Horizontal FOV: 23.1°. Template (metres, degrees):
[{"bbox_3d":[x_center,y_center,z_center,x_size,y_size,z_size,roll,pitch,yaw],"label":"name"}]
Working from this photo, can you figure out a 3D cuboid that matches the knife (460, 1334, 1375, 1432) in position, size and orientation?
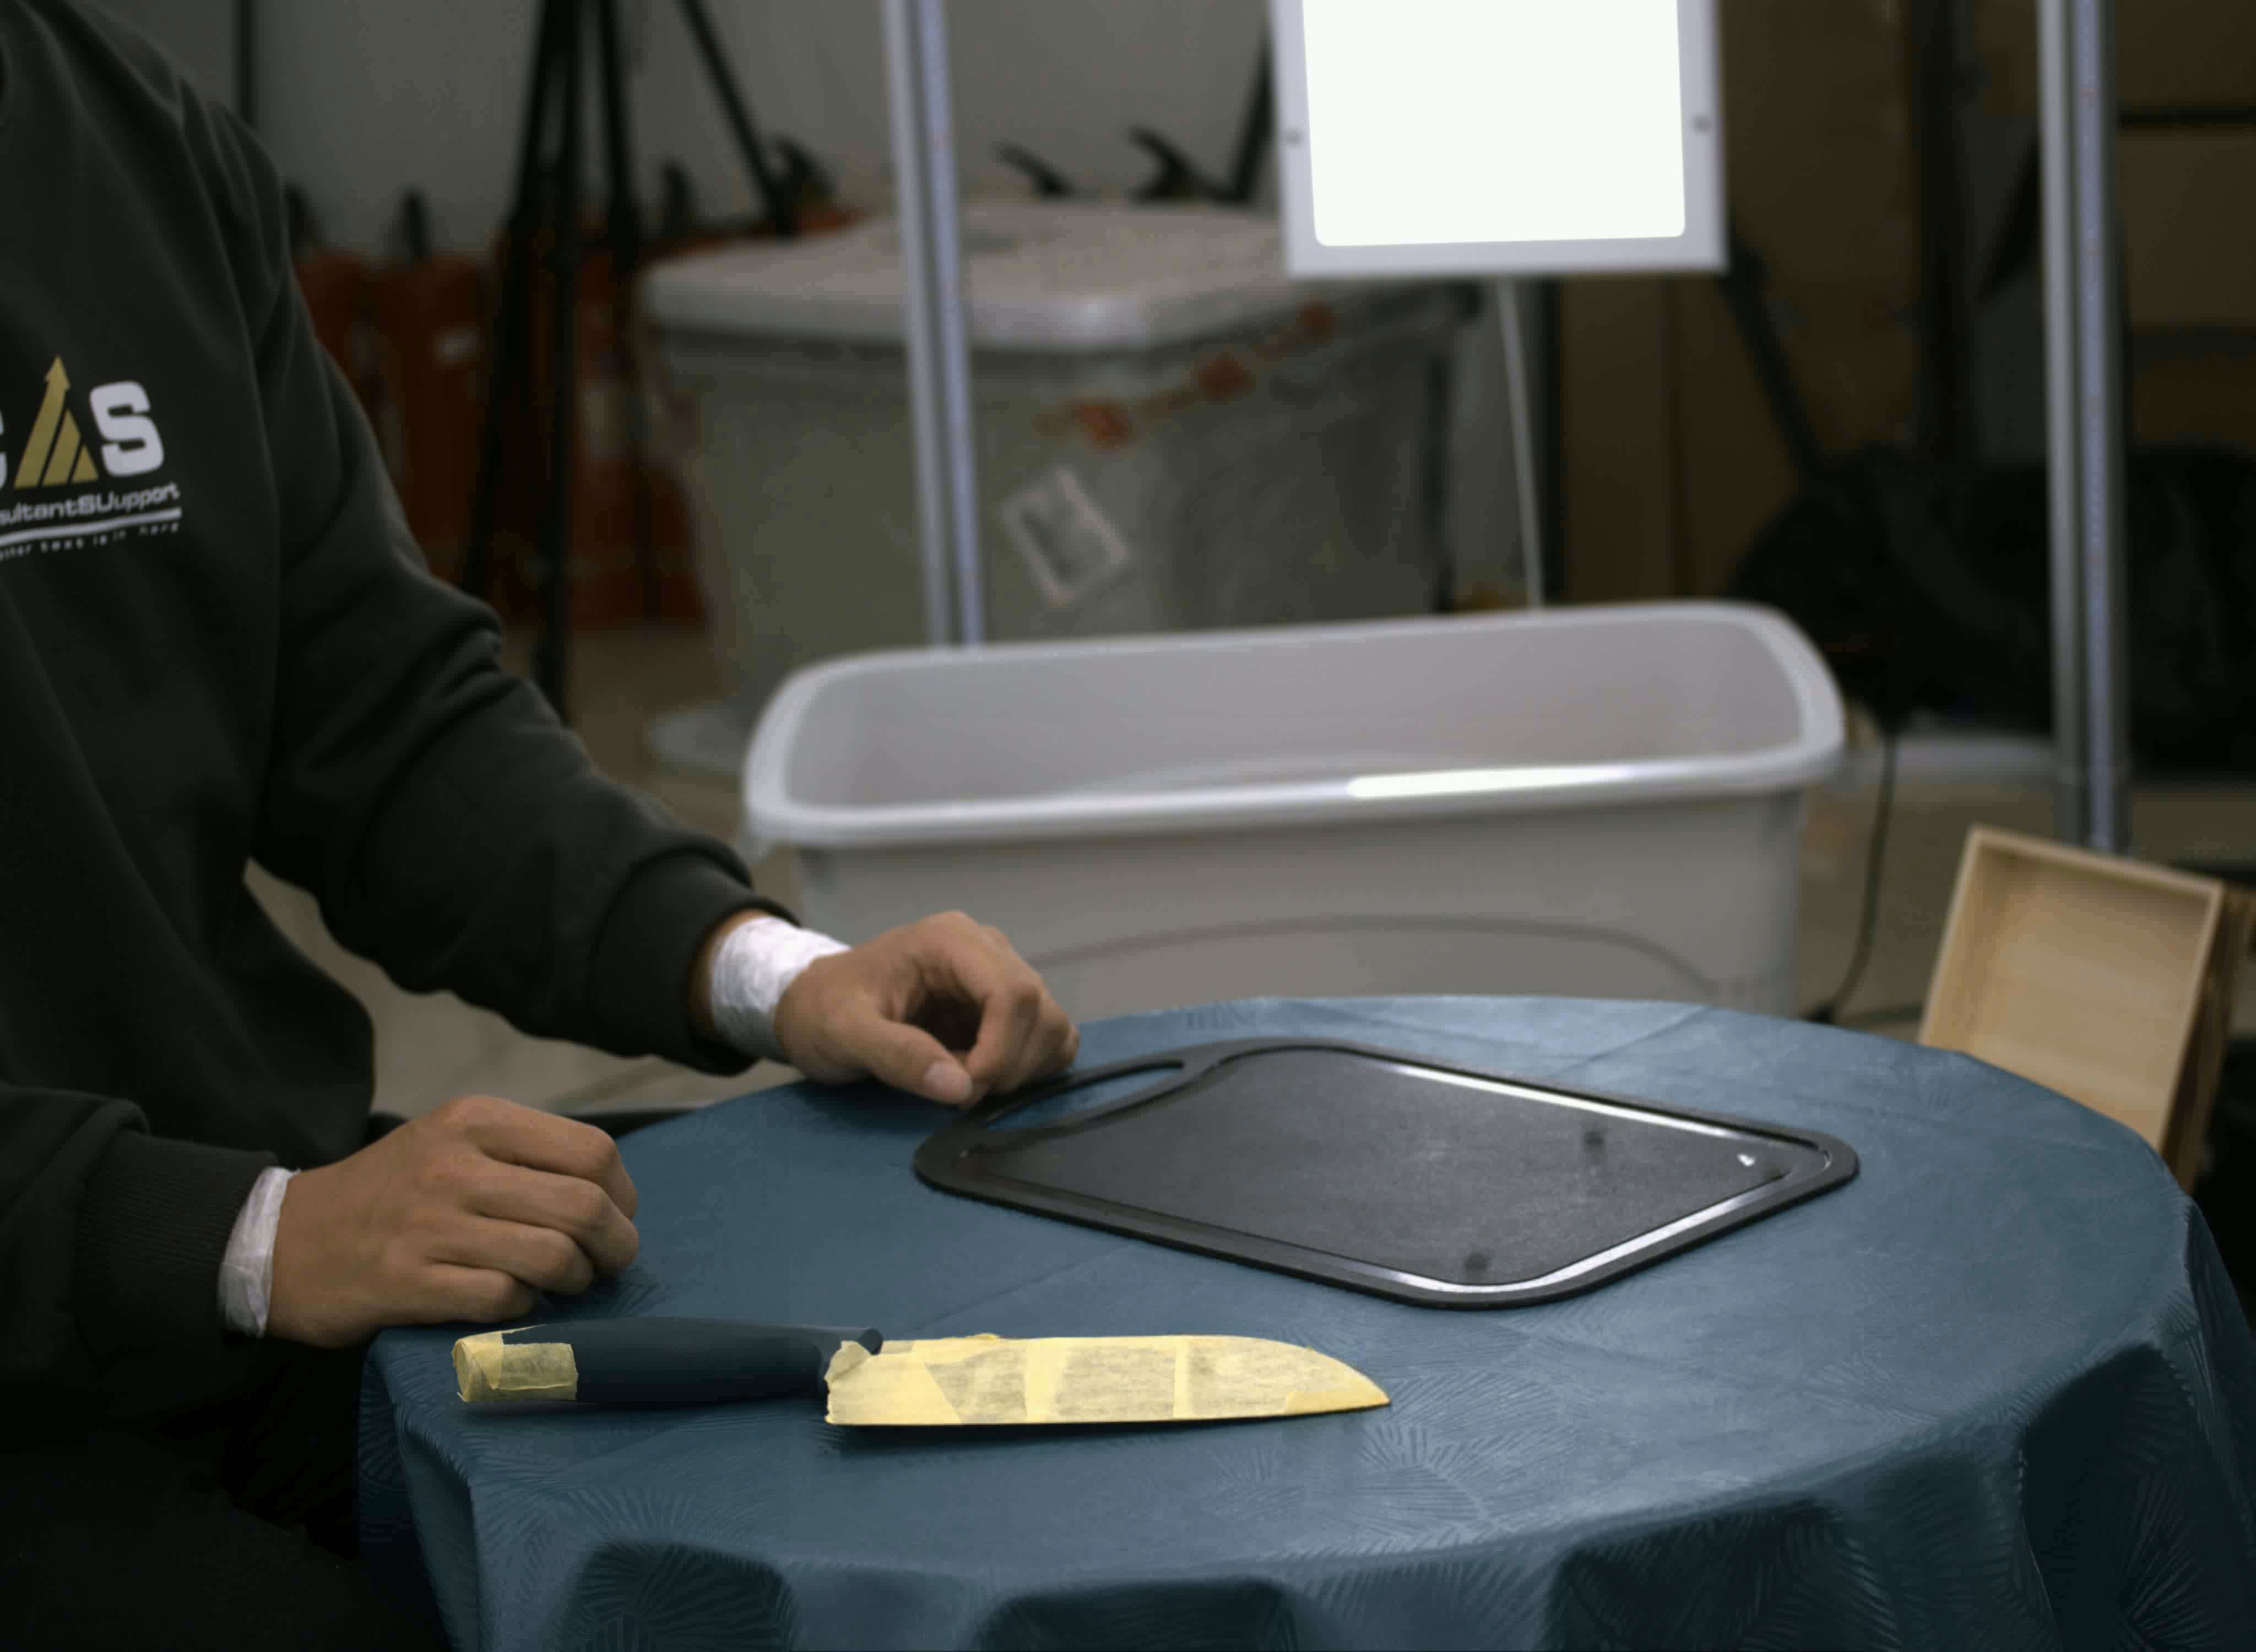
[{"bbox_3d":[-0.067,0.173,1.706,0.290,0.027,0.080,-3,12,7],"label":"knife"}]

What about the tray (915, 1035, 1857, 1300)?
[{"bbox_3d":[0.080,0.113,1.913,0.206,0.010,0.332,-17,18,-40],"label":"tray"}]
